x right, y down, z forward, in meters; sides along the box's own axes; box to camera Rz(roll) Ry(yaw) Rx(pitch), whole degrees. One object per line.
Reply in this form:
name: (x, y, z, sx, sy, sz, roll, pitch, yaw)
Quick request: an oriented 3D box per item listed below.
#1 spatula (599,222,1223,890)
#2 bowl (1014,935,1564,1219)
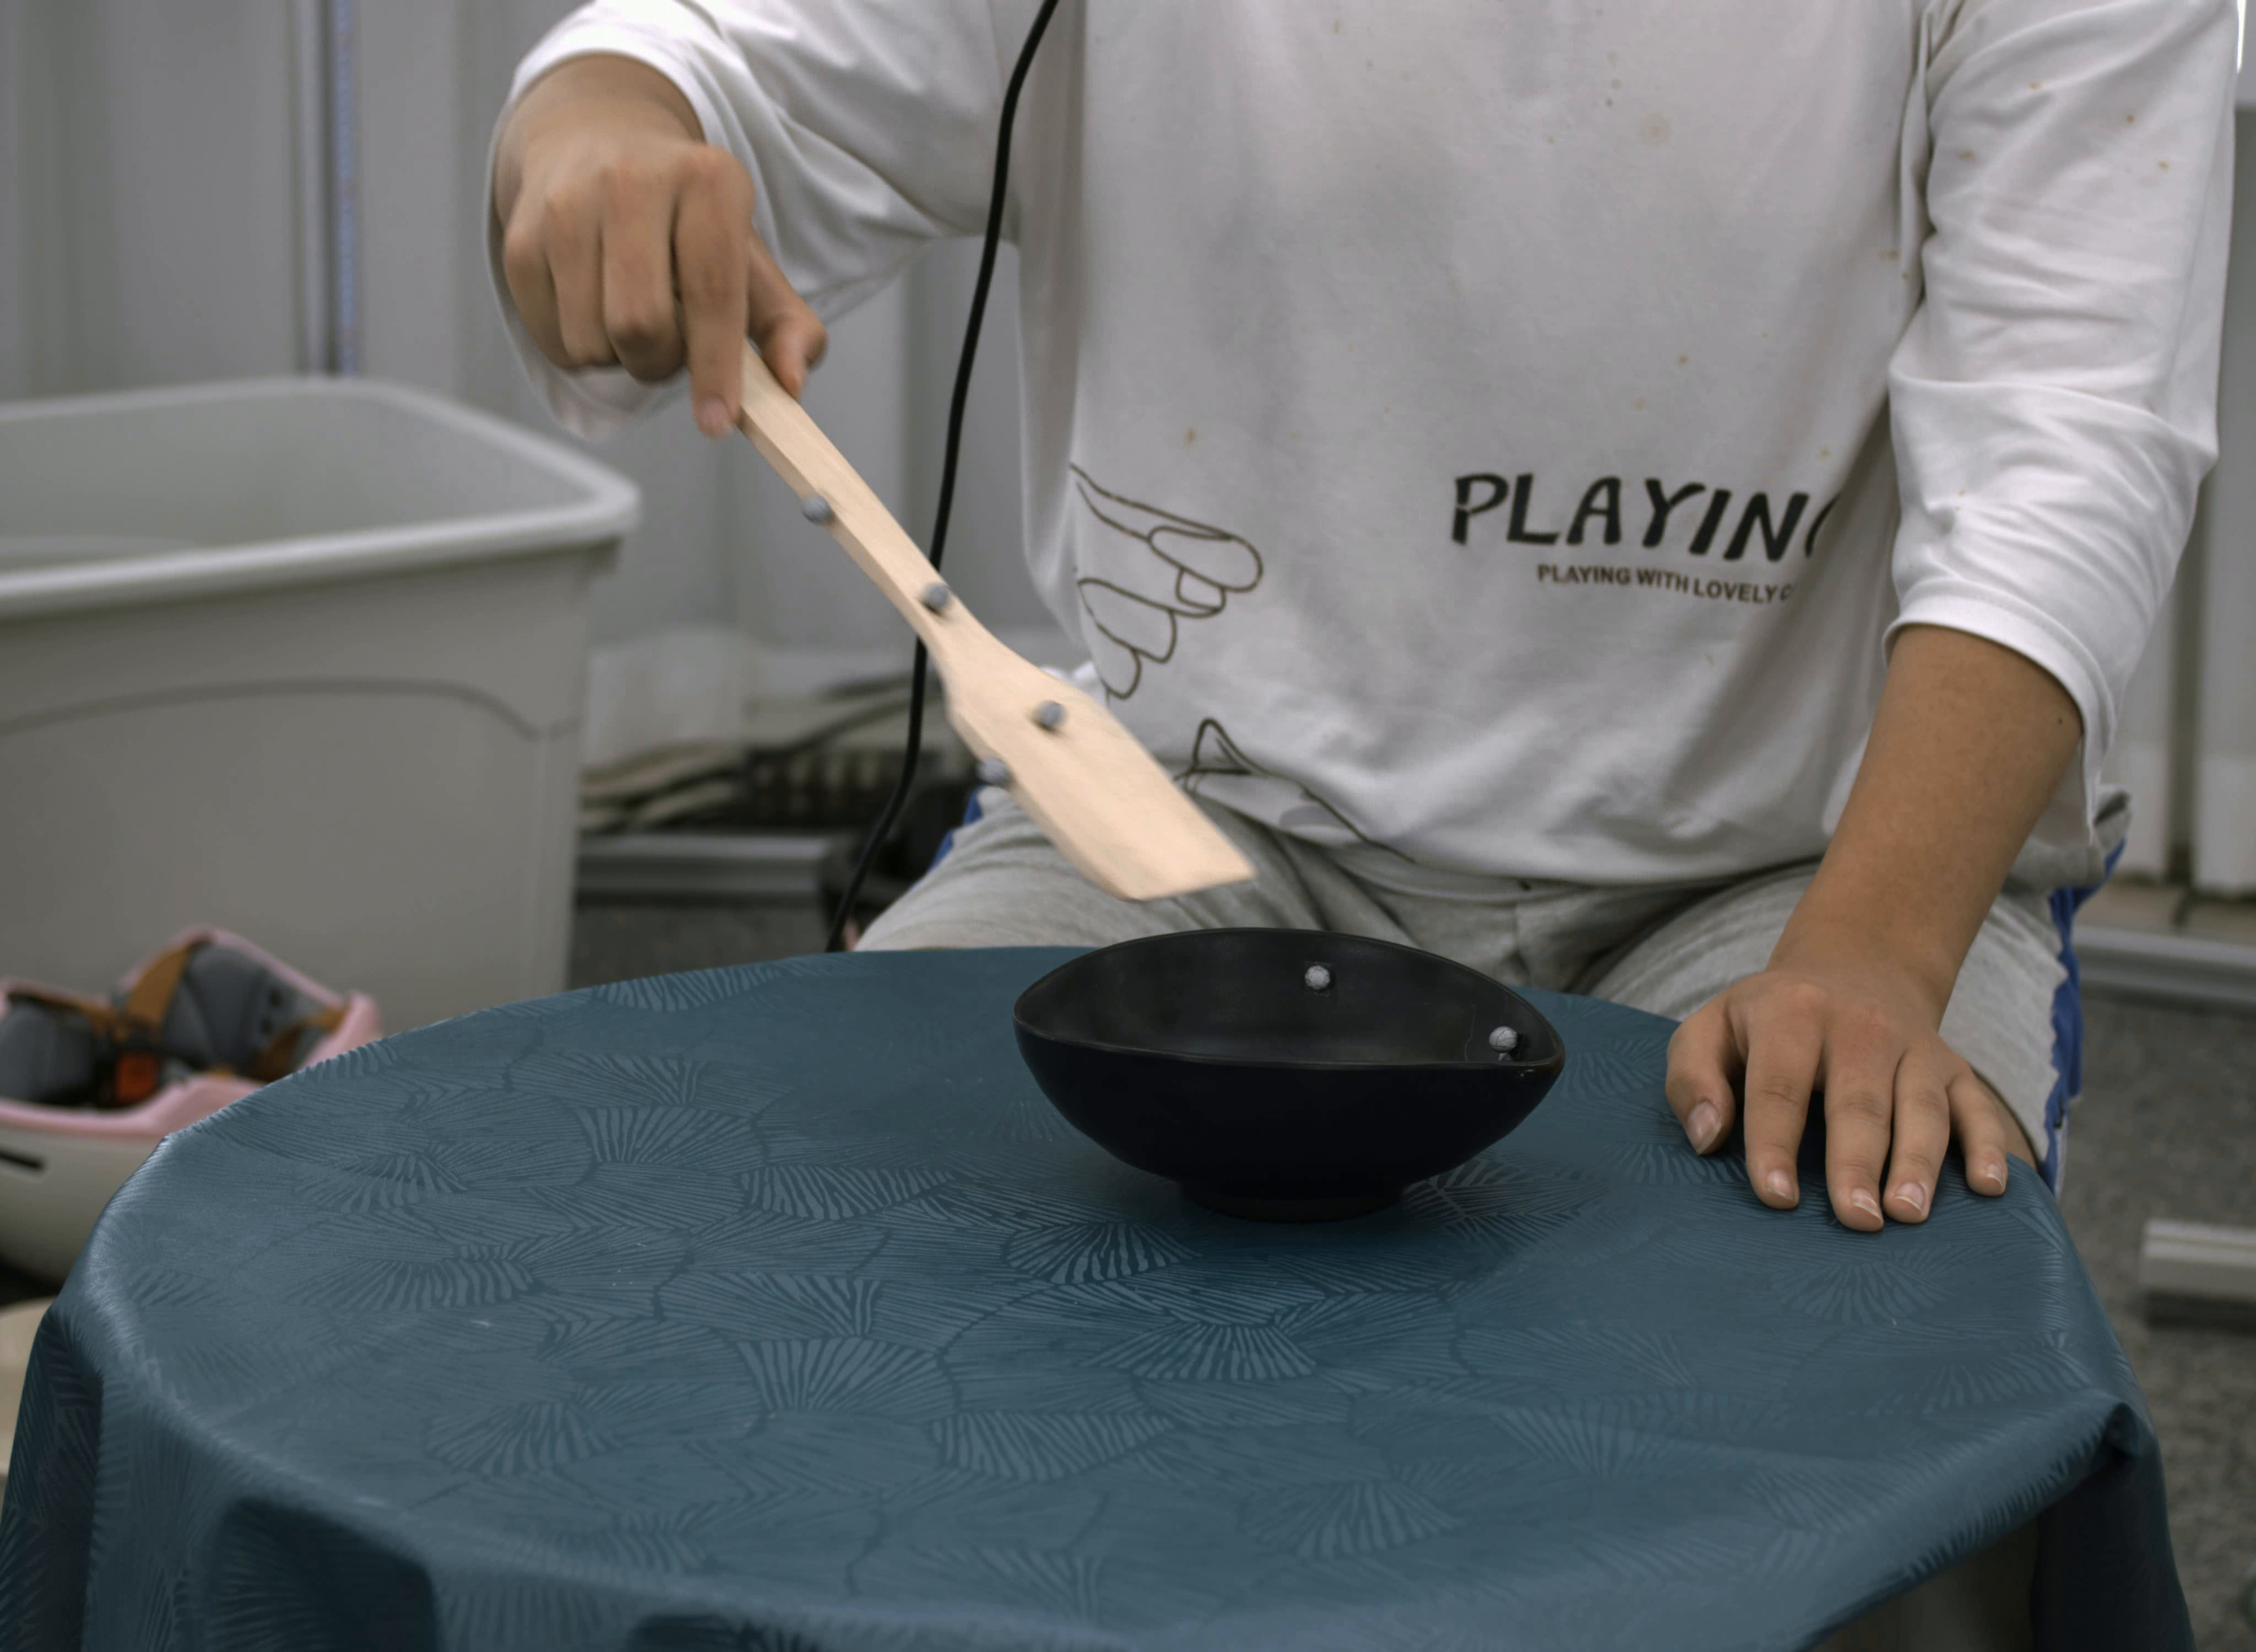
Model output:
spatula: (-0.078, -0.087, 1.644, 0.290, 0.011, 0.072, 50, 31, 19)
bowl: (0.049, 0.081, 1.627, 0.170, 0.067, 0.136, 2, 15, 0)
